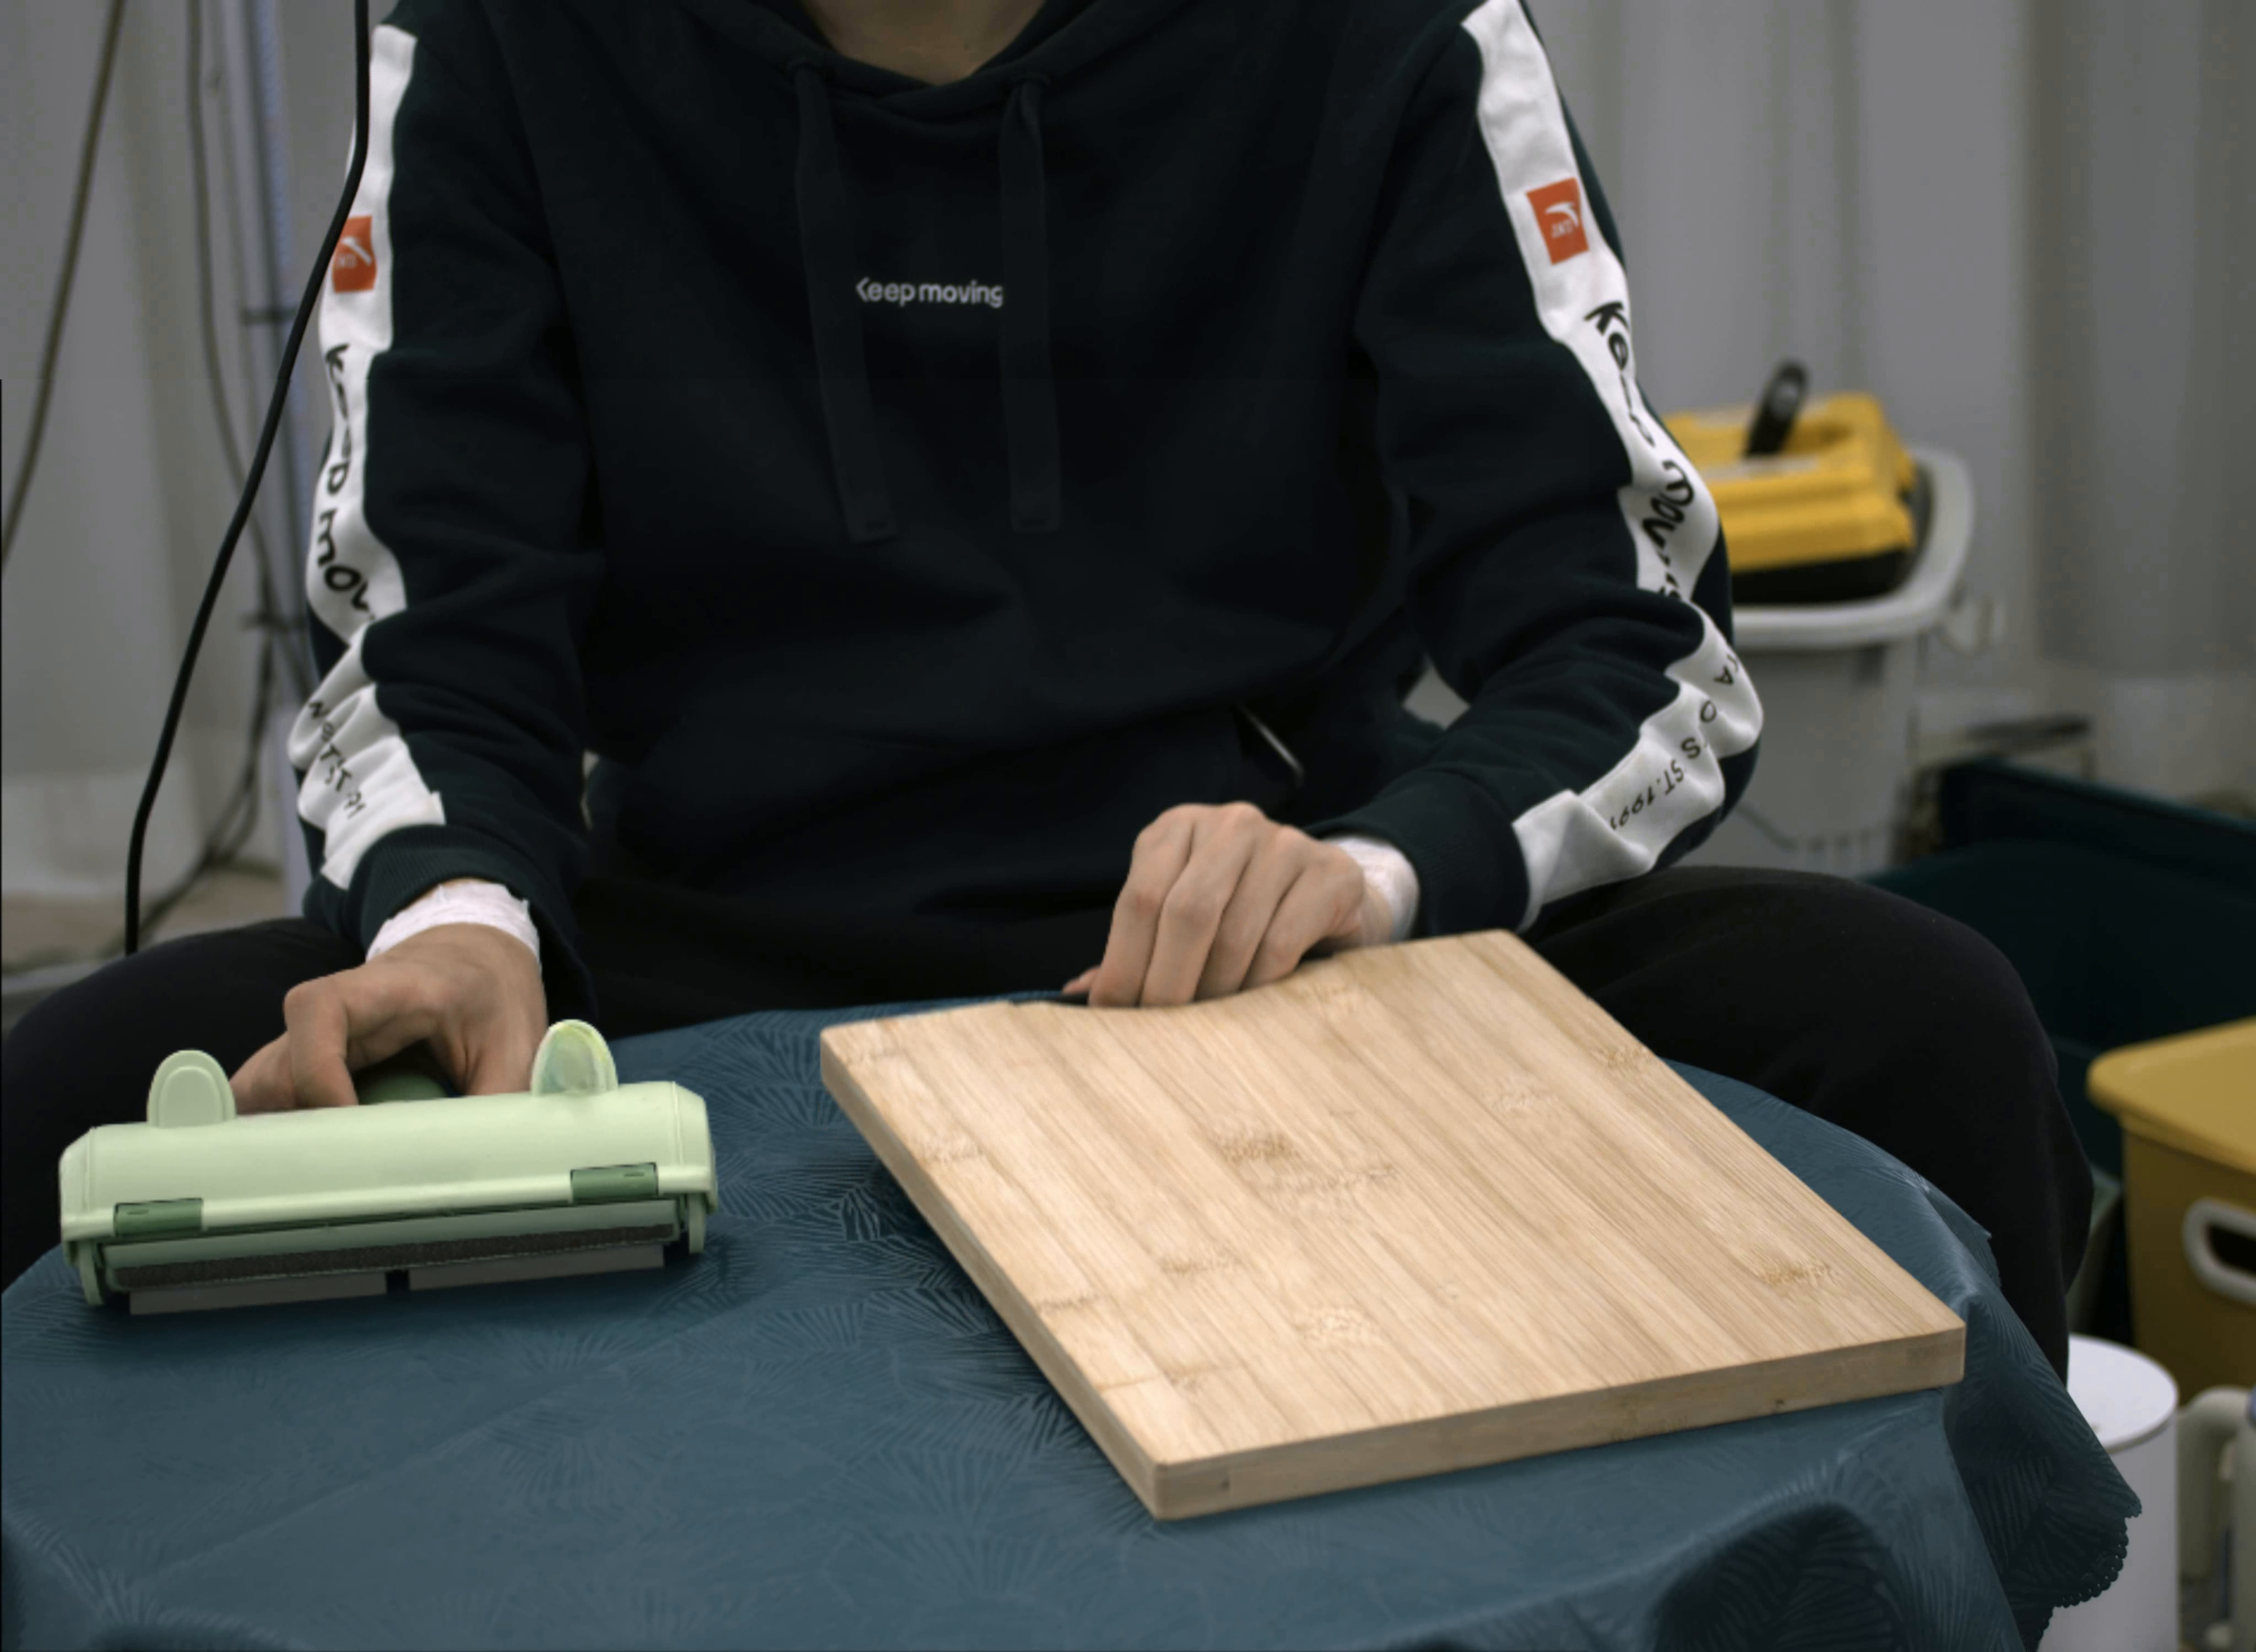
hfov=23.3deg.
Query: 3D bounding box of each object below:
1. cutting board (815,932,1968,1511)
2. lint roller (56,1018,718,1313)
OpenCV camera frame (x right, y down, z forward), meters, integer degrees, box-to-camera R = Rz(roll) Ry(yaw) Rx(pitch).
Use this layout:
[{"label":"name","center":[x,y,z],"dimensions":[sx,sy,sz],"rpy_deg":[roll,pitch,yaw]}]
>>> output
[{"label":"cutting board","center":[0.066,0.111,1.639],"dimensions":[0.249,0.023,0.352],"rpy_deg":[-8,20,-18]},{"label":"lint roller","center":[-0.231,0.088,1.714],"dimensions":[0.198,0.082,0.185],"rpy_deg":[-5,19,-5]}]
